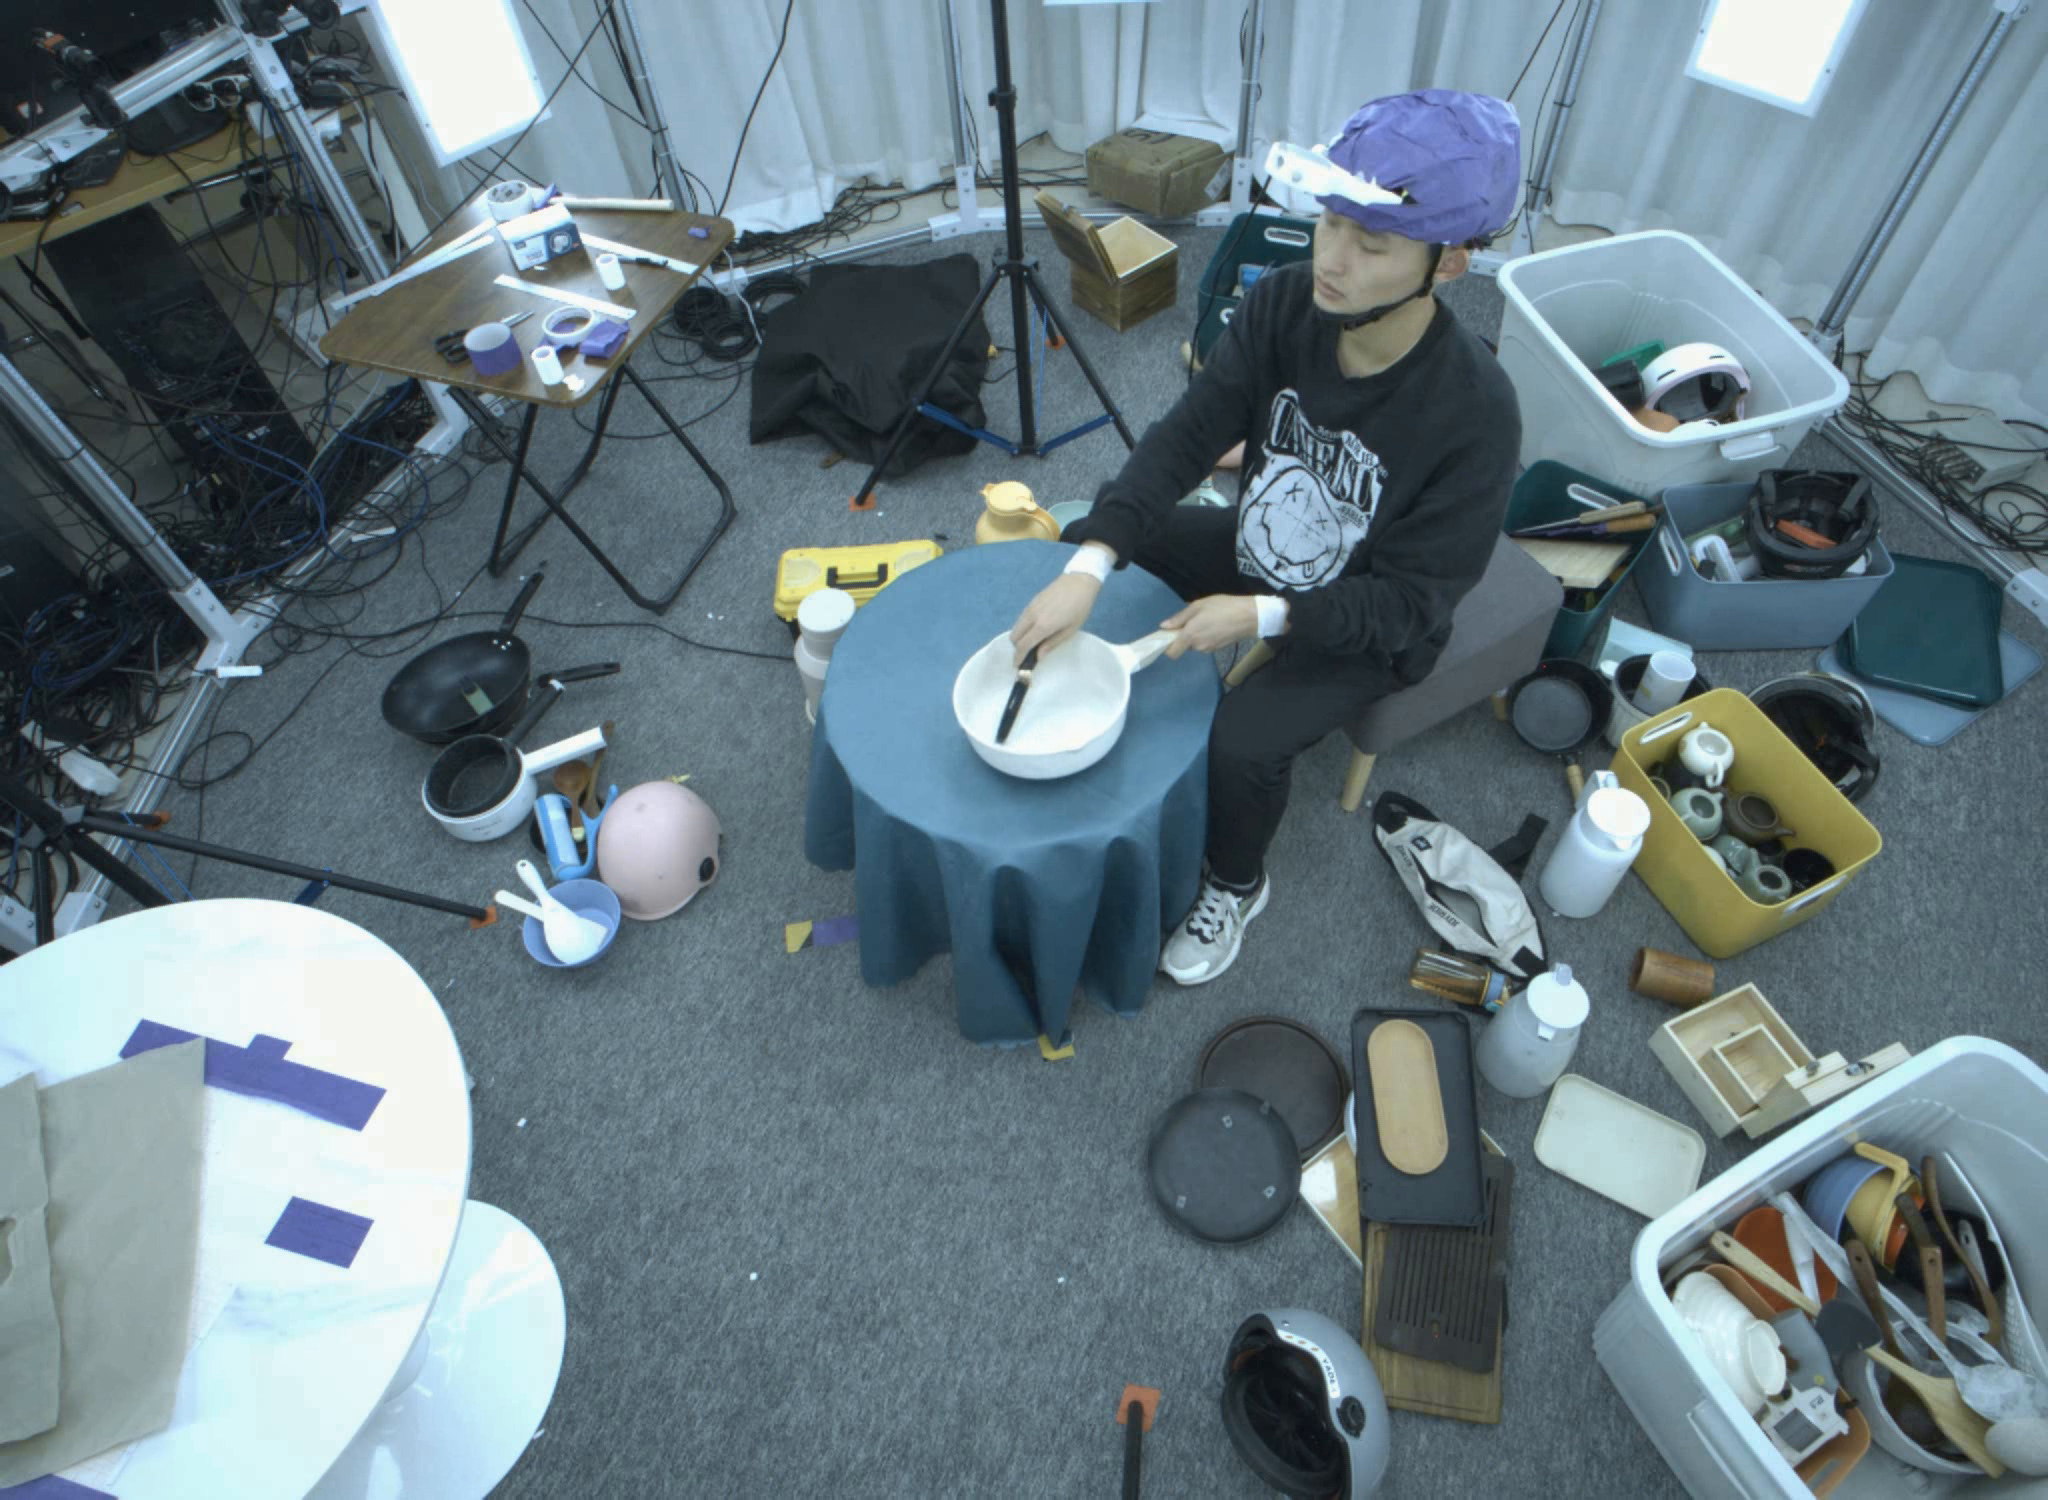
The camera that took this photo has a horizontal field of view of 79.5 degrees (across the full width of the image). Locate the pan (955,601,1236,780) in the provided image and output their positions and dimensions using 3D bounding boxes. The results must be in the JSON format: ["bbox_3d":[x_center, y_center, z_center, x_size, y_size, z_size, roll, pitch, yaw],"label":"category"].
[{"bbox_3d":[0.114,-0.098,1.774,0.438,0.103,0.258,-22,48,-12],"label":"pan"}]

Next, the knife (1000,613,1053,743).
[{"bbox_3d":[-0.002,-0.091,1.770,0.026,0.017,0.225,21,83,-10],"label":"knife"}]
